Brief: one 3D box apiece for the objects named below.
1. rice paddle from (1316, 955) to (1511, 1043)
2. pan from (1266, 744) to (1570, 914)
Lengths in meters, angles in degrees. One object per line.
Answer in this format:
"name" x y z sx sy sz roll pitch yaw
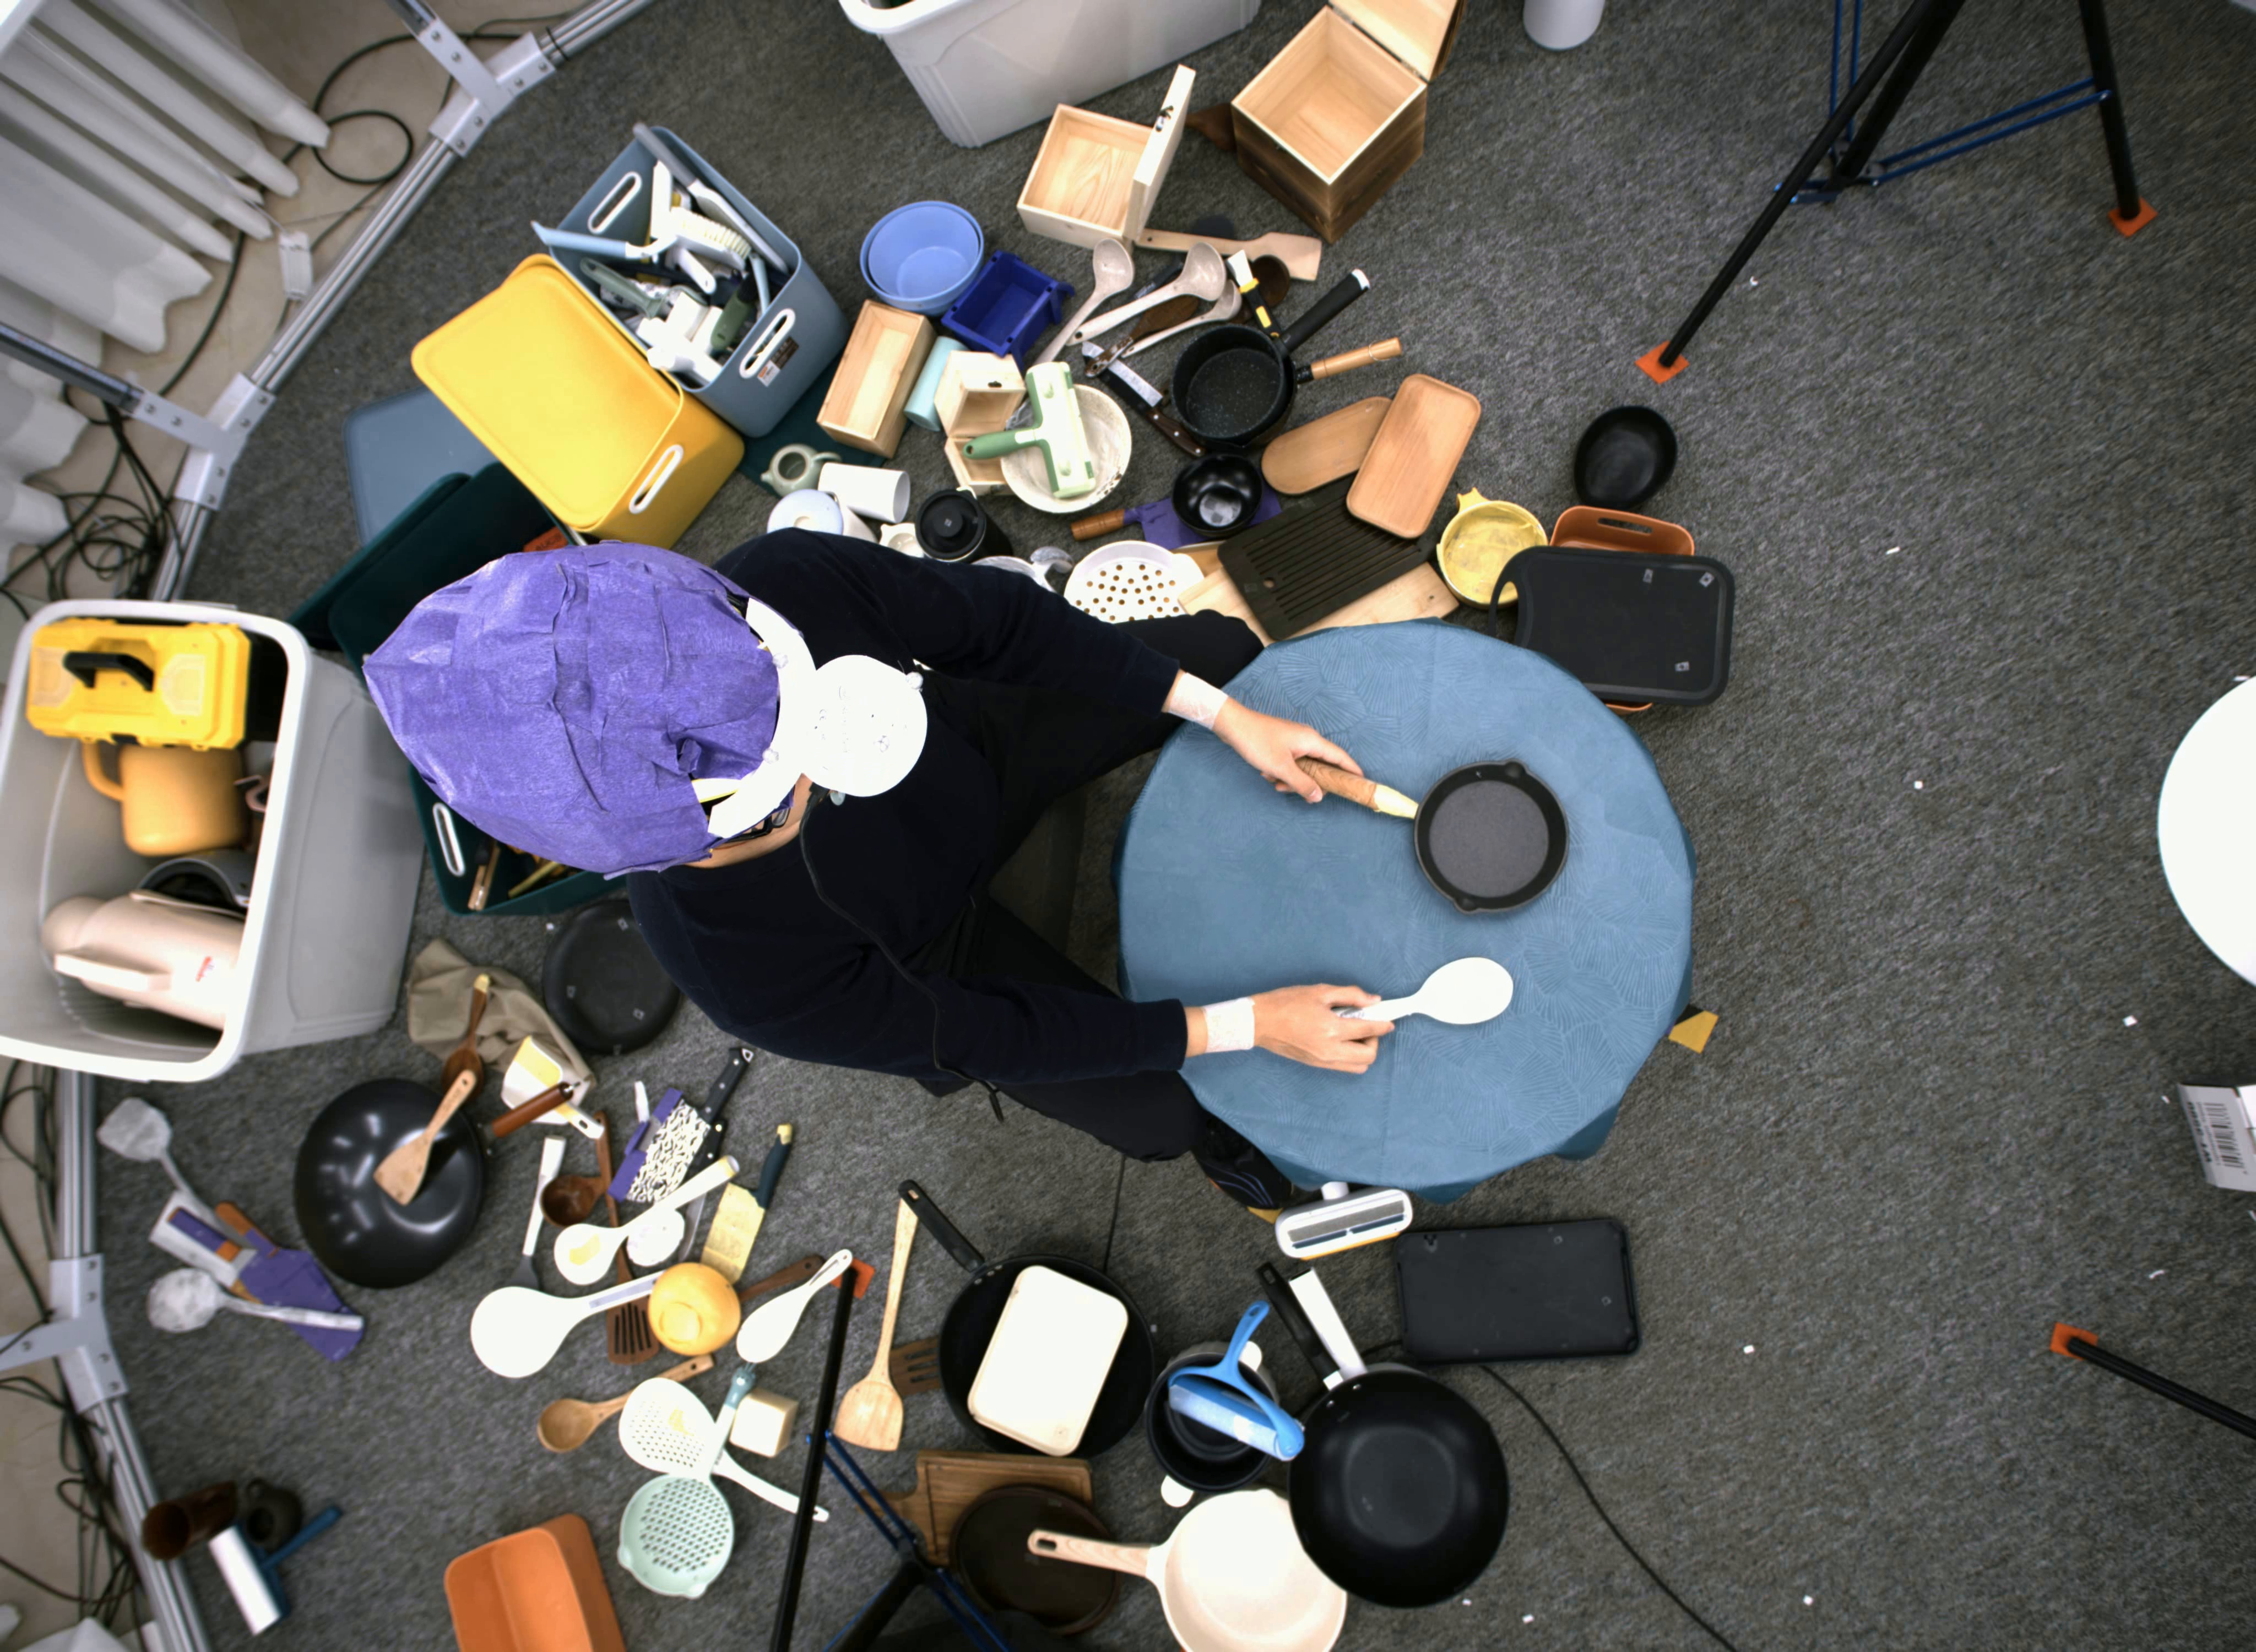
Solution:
"rice paddle" 0.296 0.181 1.427 0.206 0.030 0.068 -15 71 3
"pan" 0.297 -0.021 1.434 0.324 0.049 0.169 22 91 9
